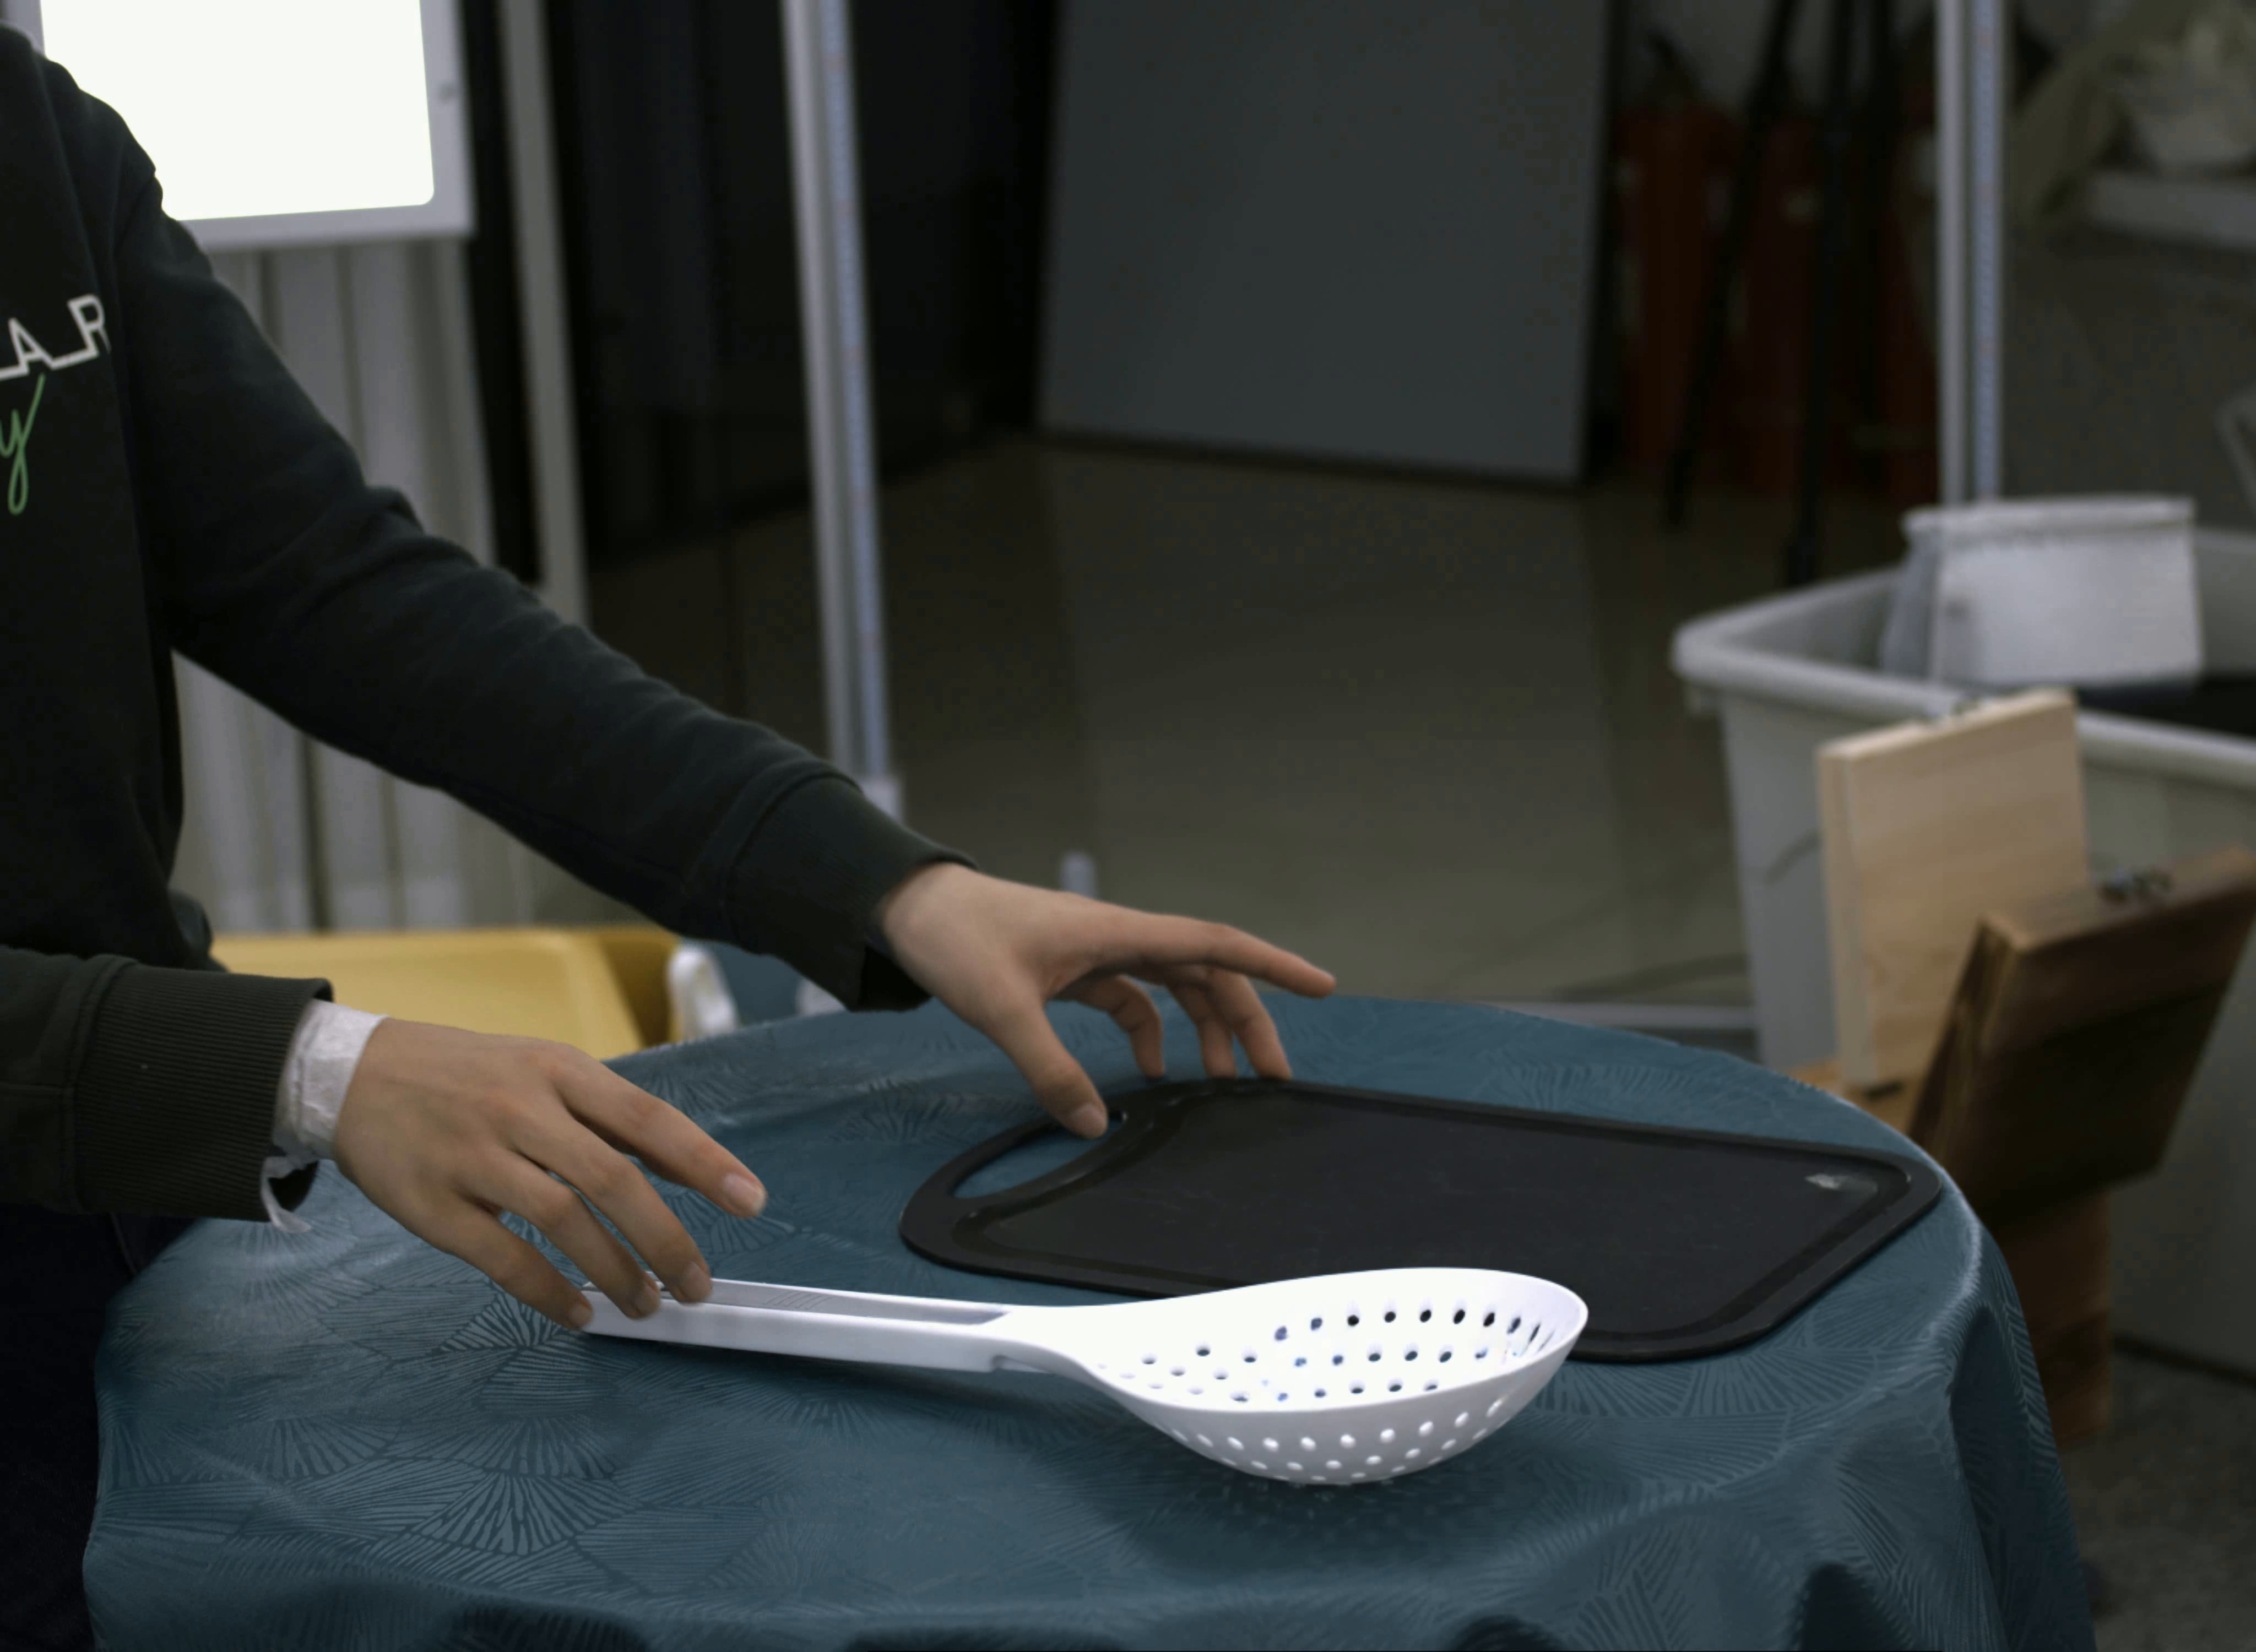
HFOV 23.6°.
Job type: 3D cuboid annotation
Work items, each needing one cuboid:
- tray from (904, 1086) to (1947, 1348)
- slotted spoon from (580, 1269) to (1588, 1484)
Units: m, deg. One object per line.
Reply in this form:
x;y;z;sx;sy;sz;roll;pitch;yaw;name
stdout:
0.087;0.121;1.732;0.327;0.010;0.207;4;16;33;tray
-0.024;0.149;1.569;0.352;0.046;0.133;5;14;36;slotted spoon
